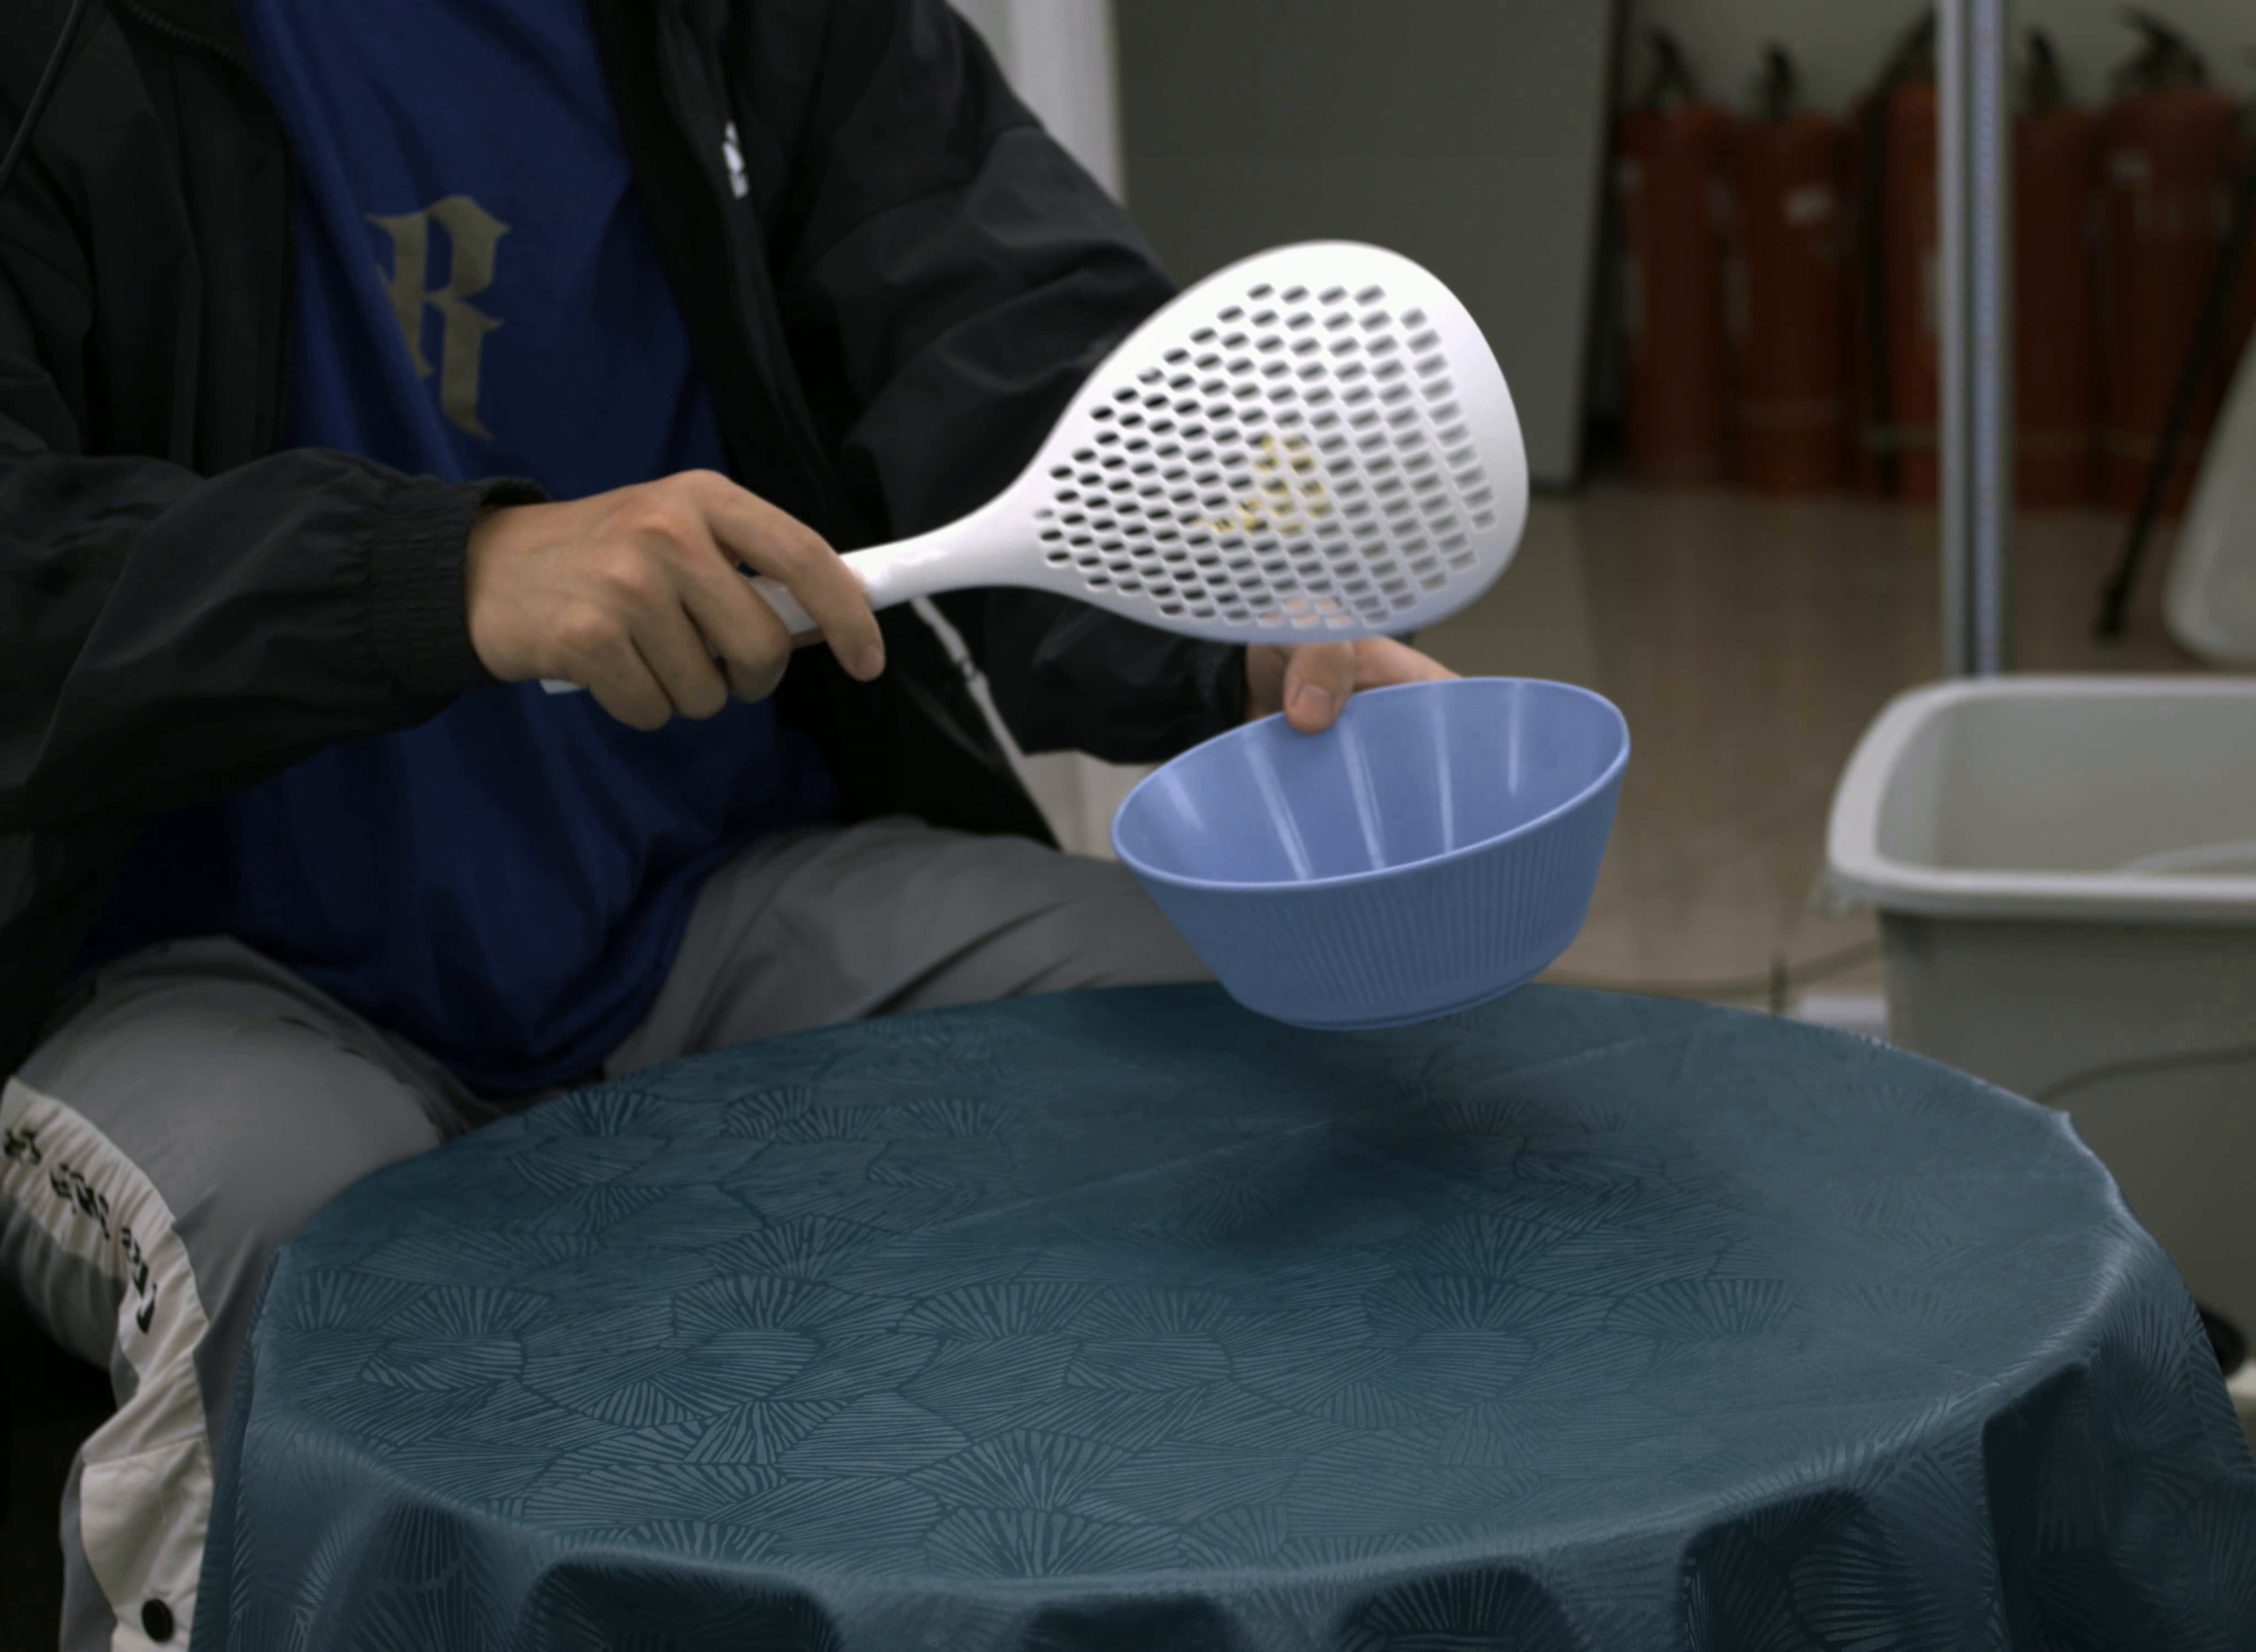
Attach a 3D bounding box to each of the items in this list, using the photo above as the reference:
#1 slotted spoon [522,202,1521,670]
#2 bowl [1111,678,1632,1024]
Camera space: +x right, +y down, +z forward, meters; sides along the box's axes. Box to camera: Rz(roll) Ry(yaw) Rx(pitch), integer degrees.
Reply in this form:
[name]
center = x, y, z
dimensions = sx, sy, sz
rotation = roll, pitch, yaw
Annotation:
[slotted spoon]
center = -0.040, -0.100, 1.781
dimensions = 0.348, 0.137, 0.050
rotation = -15, 18, 23
[bowl]
center = 0.085, 0.012, 1.770
dimensions = 0.174, 0.071, 0.176
rotation = -13, 18, 3
